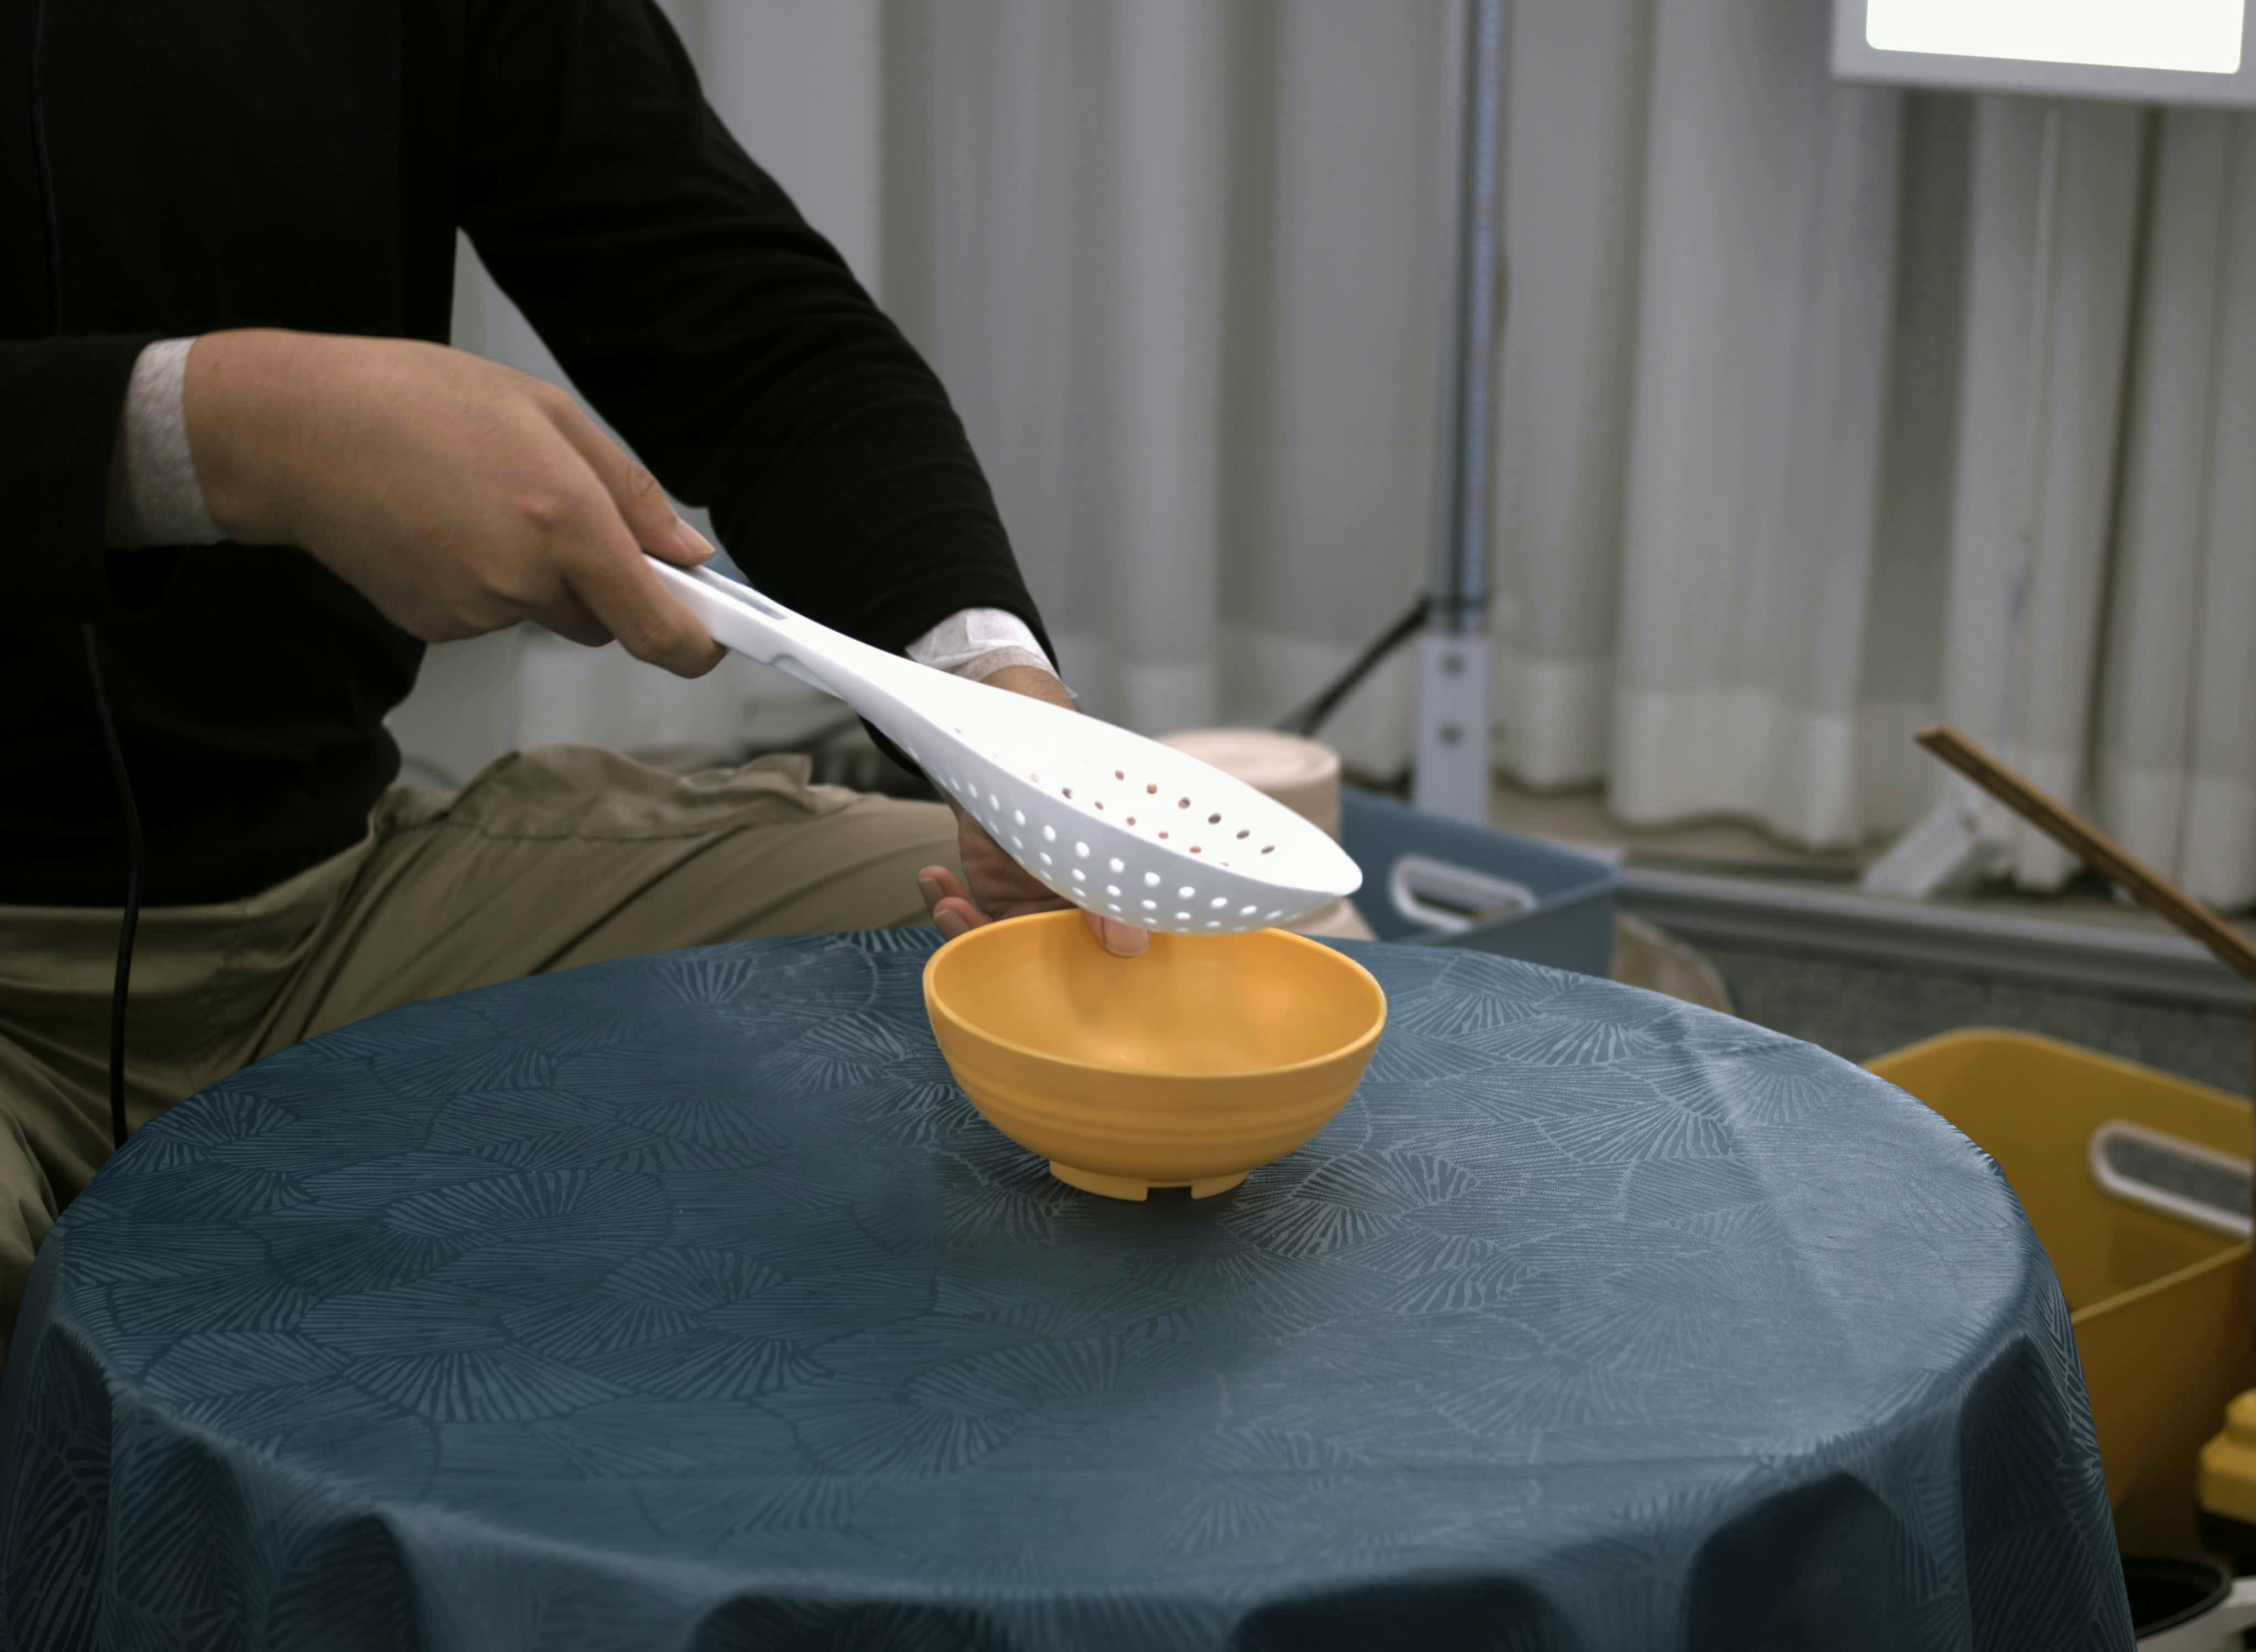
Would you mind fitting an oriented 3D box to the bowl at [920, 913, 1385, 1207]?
[{"bbox_3d":[0.005,0.078,1.630,0.145,0.060,0.144,5,18,-1],"label":"bowl"}]

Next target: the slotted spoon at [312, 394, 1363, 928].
[{"bbox_3d":[-0.091,-0.052,1.571,0.348,0.046,0.136,30,14,9],"label":"slotted spoon"}]
